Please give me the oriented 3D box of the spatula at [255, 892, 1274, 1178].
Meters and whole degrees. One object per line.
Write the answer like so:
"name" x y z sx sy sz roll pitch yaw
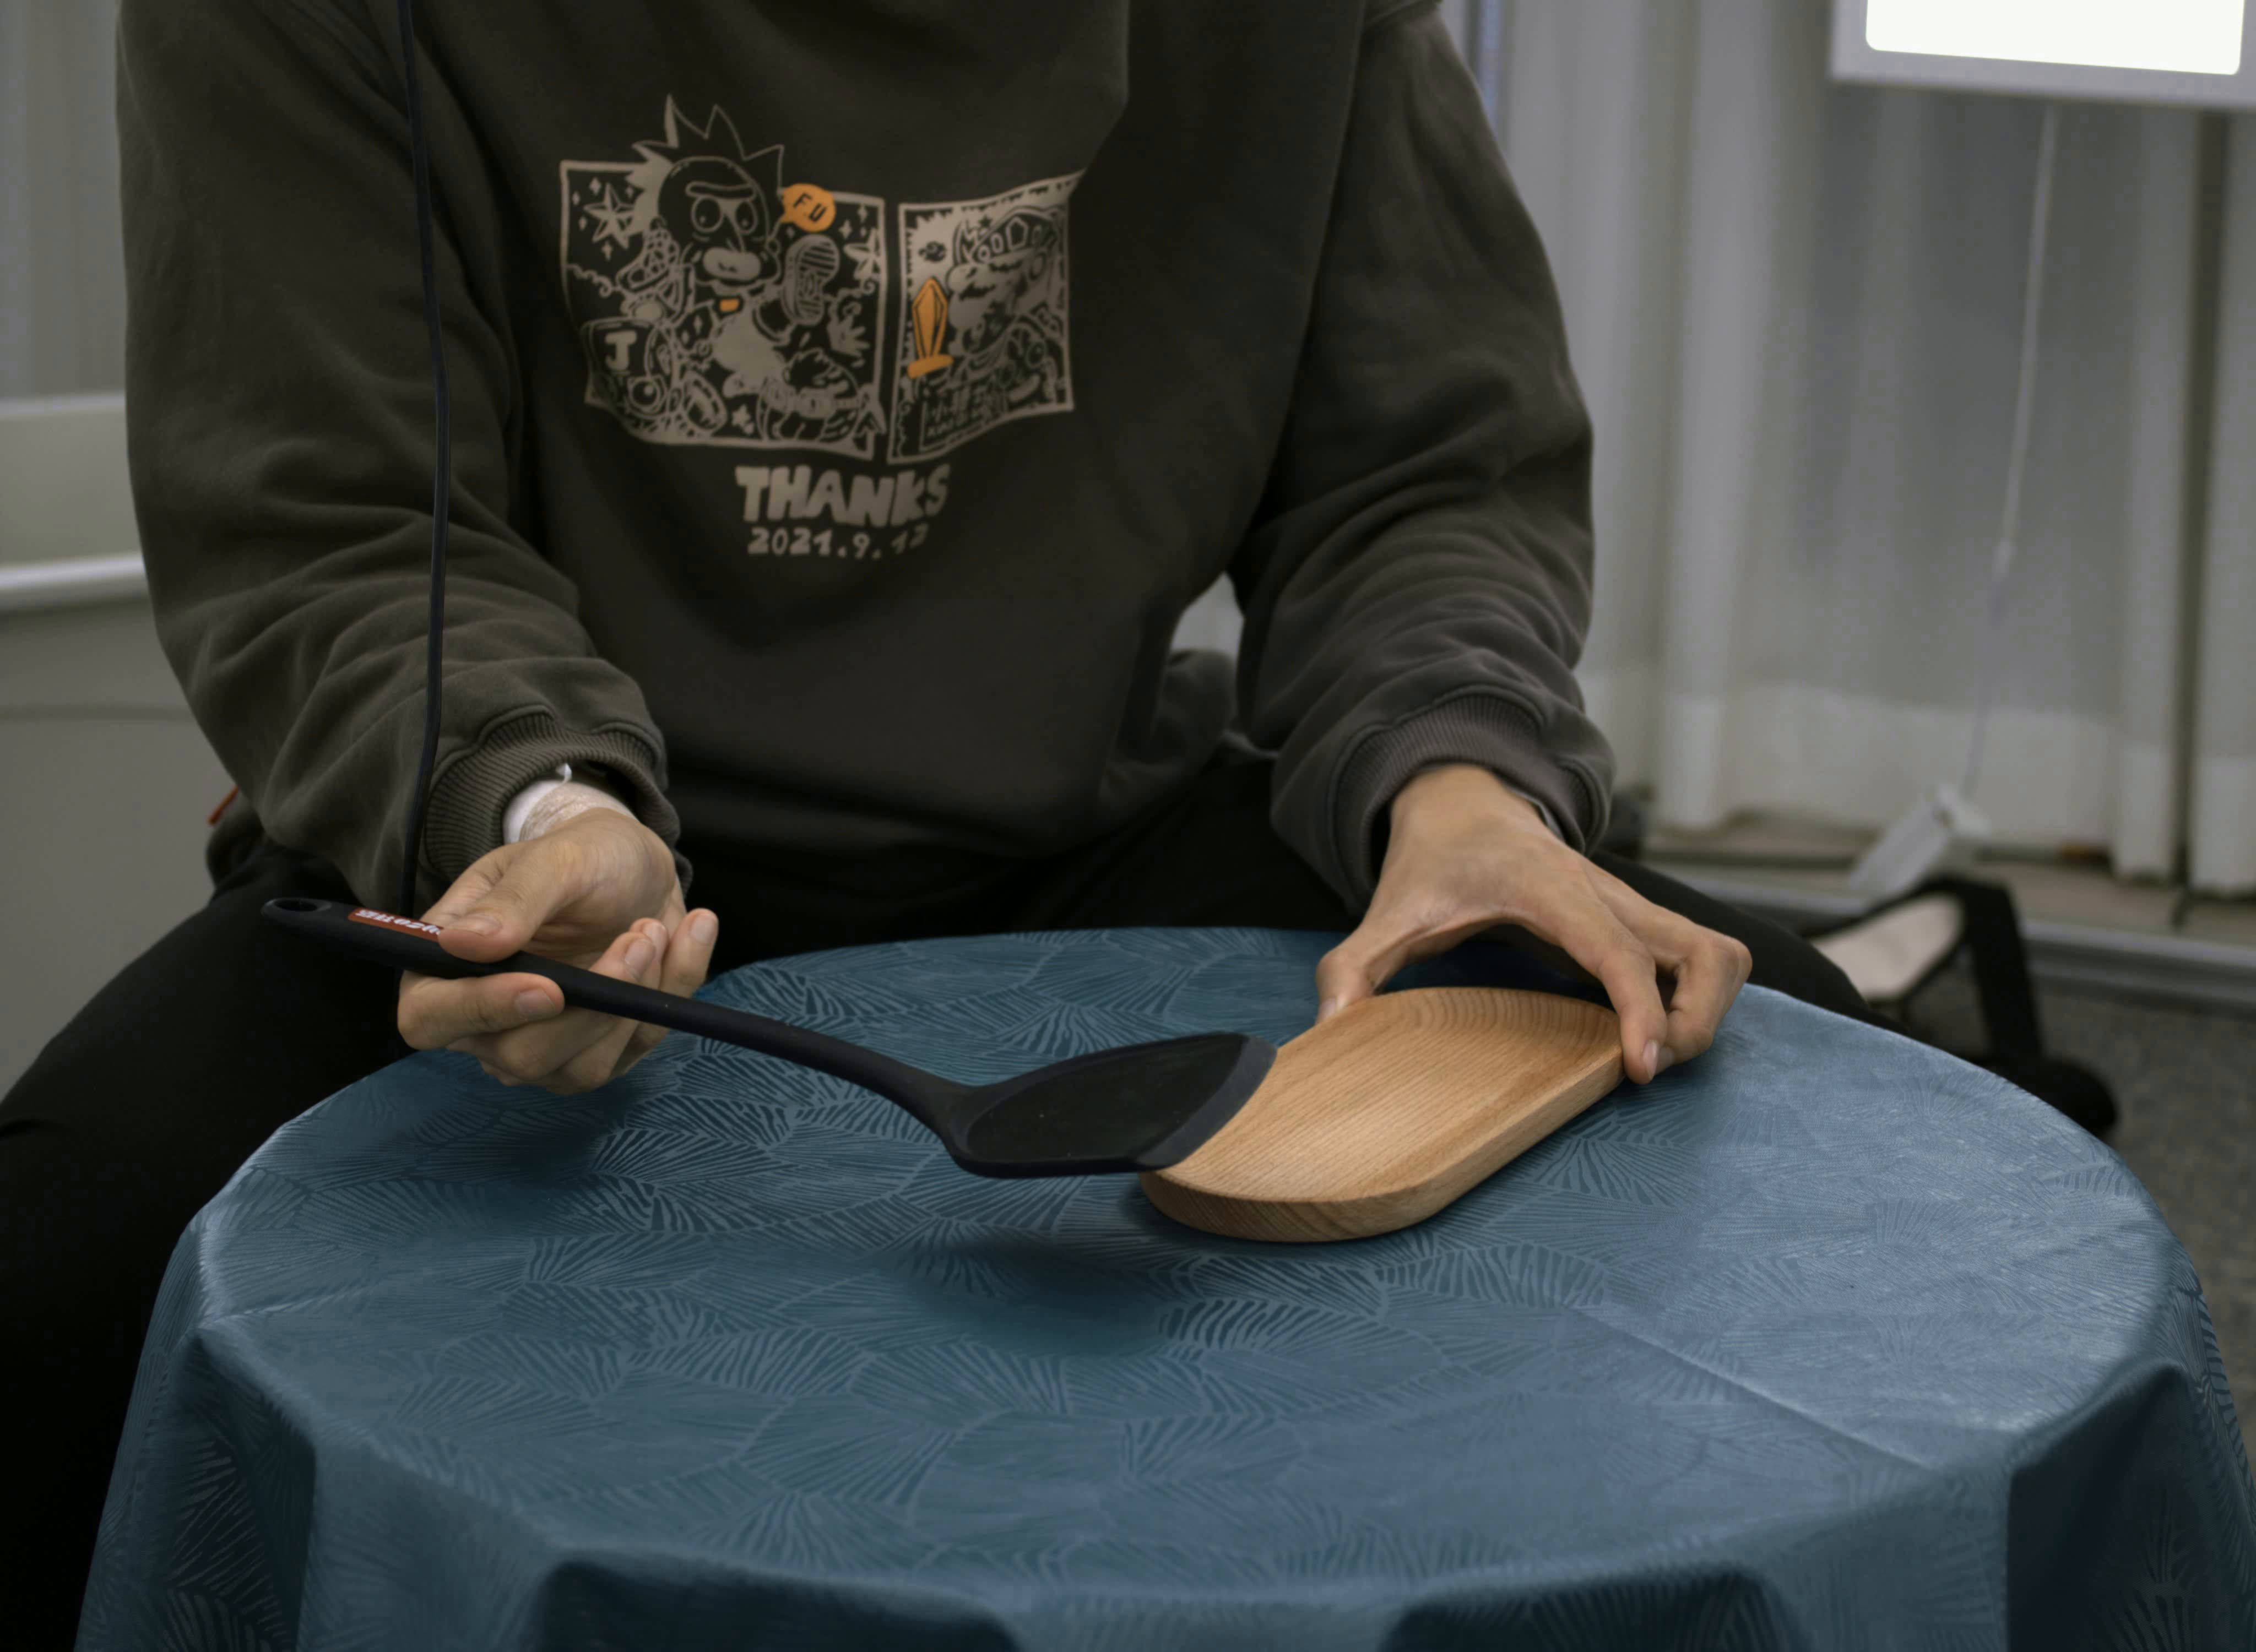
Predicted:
"spatula" -0.119 0.055 1.594 0.323 0.041 0.099 16 24 15

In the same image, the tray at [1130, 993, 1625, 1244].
"tray" 0.082 0.091 1.680 0.100 0.020 0.232 7 18 27
